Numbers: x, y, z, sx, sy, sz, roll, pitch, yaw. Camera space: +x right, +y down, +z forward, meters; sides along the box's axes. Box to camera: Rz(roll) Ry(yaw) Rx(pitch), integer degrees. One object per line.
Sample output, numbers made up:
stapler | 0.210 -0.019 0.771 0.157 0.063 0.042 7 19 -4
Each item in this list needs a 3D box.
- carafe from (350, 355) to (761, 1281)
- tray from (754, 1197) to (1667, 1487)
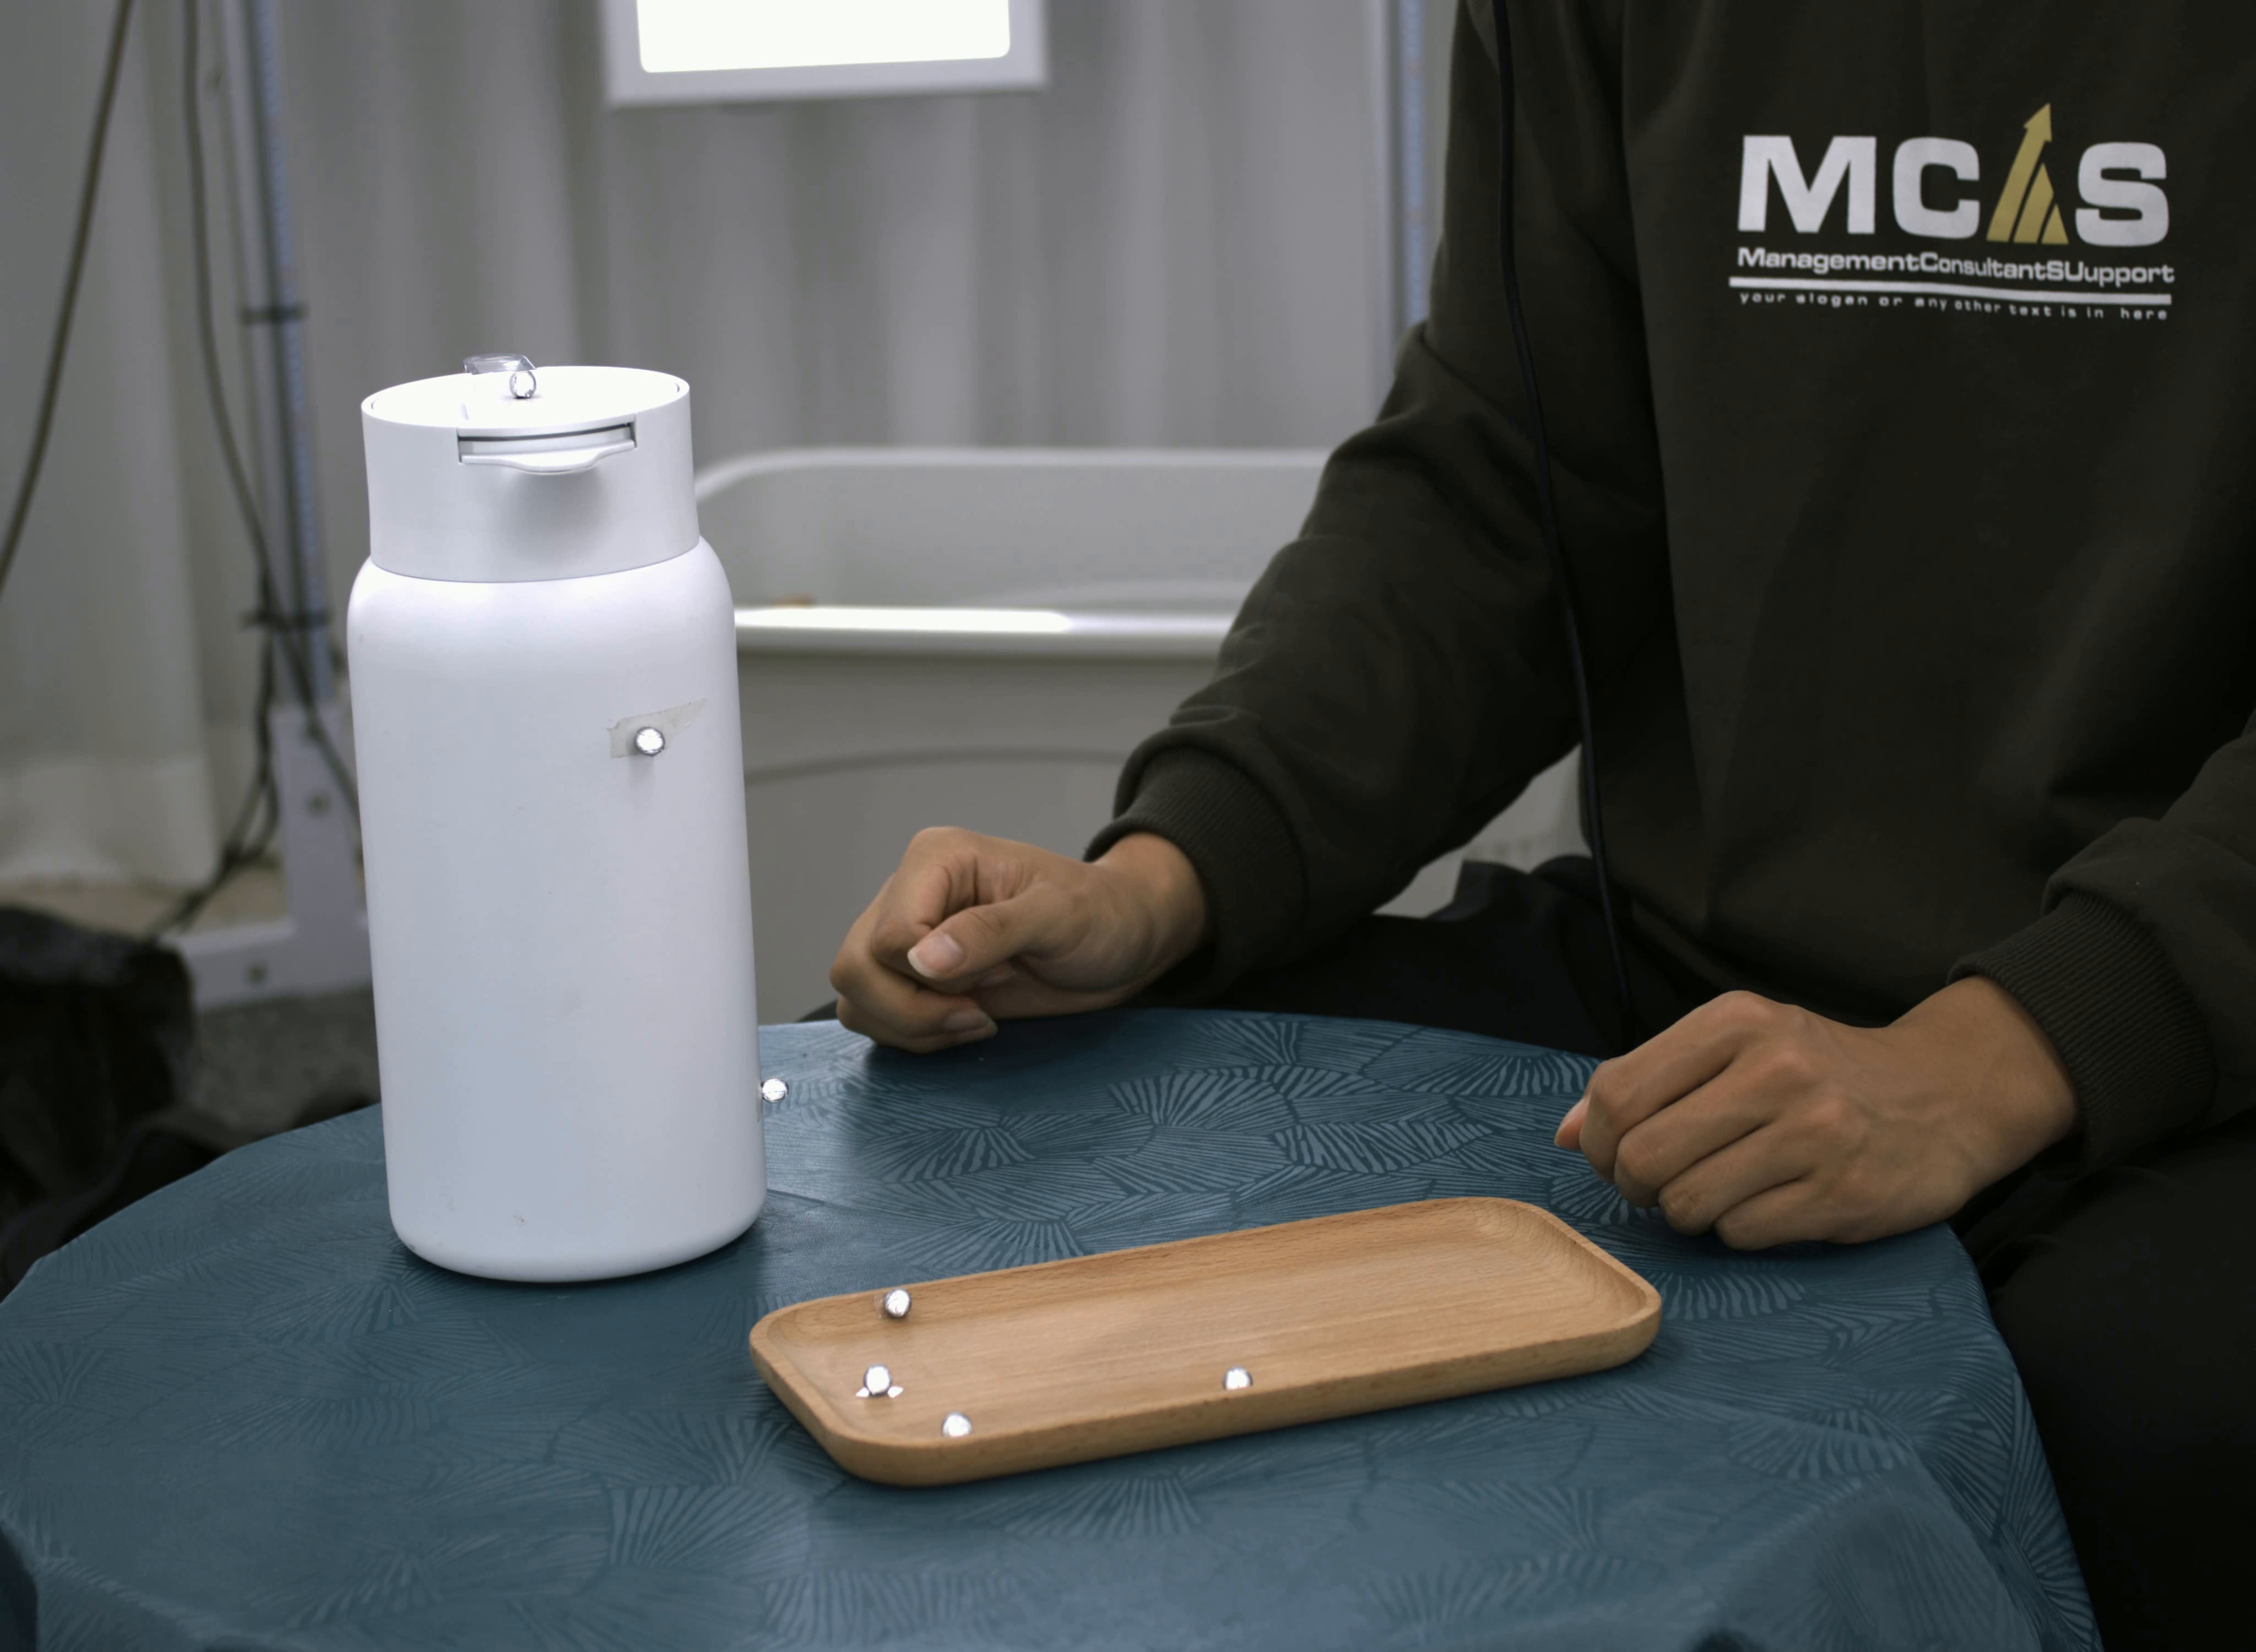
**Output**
carafe | -0.181 -0.007 1.691 0.123 0.268 0.174 -7 15 -13
tray | 0.023 0.147 1.565 0.249 0.023 0.132 -7 18 -18
